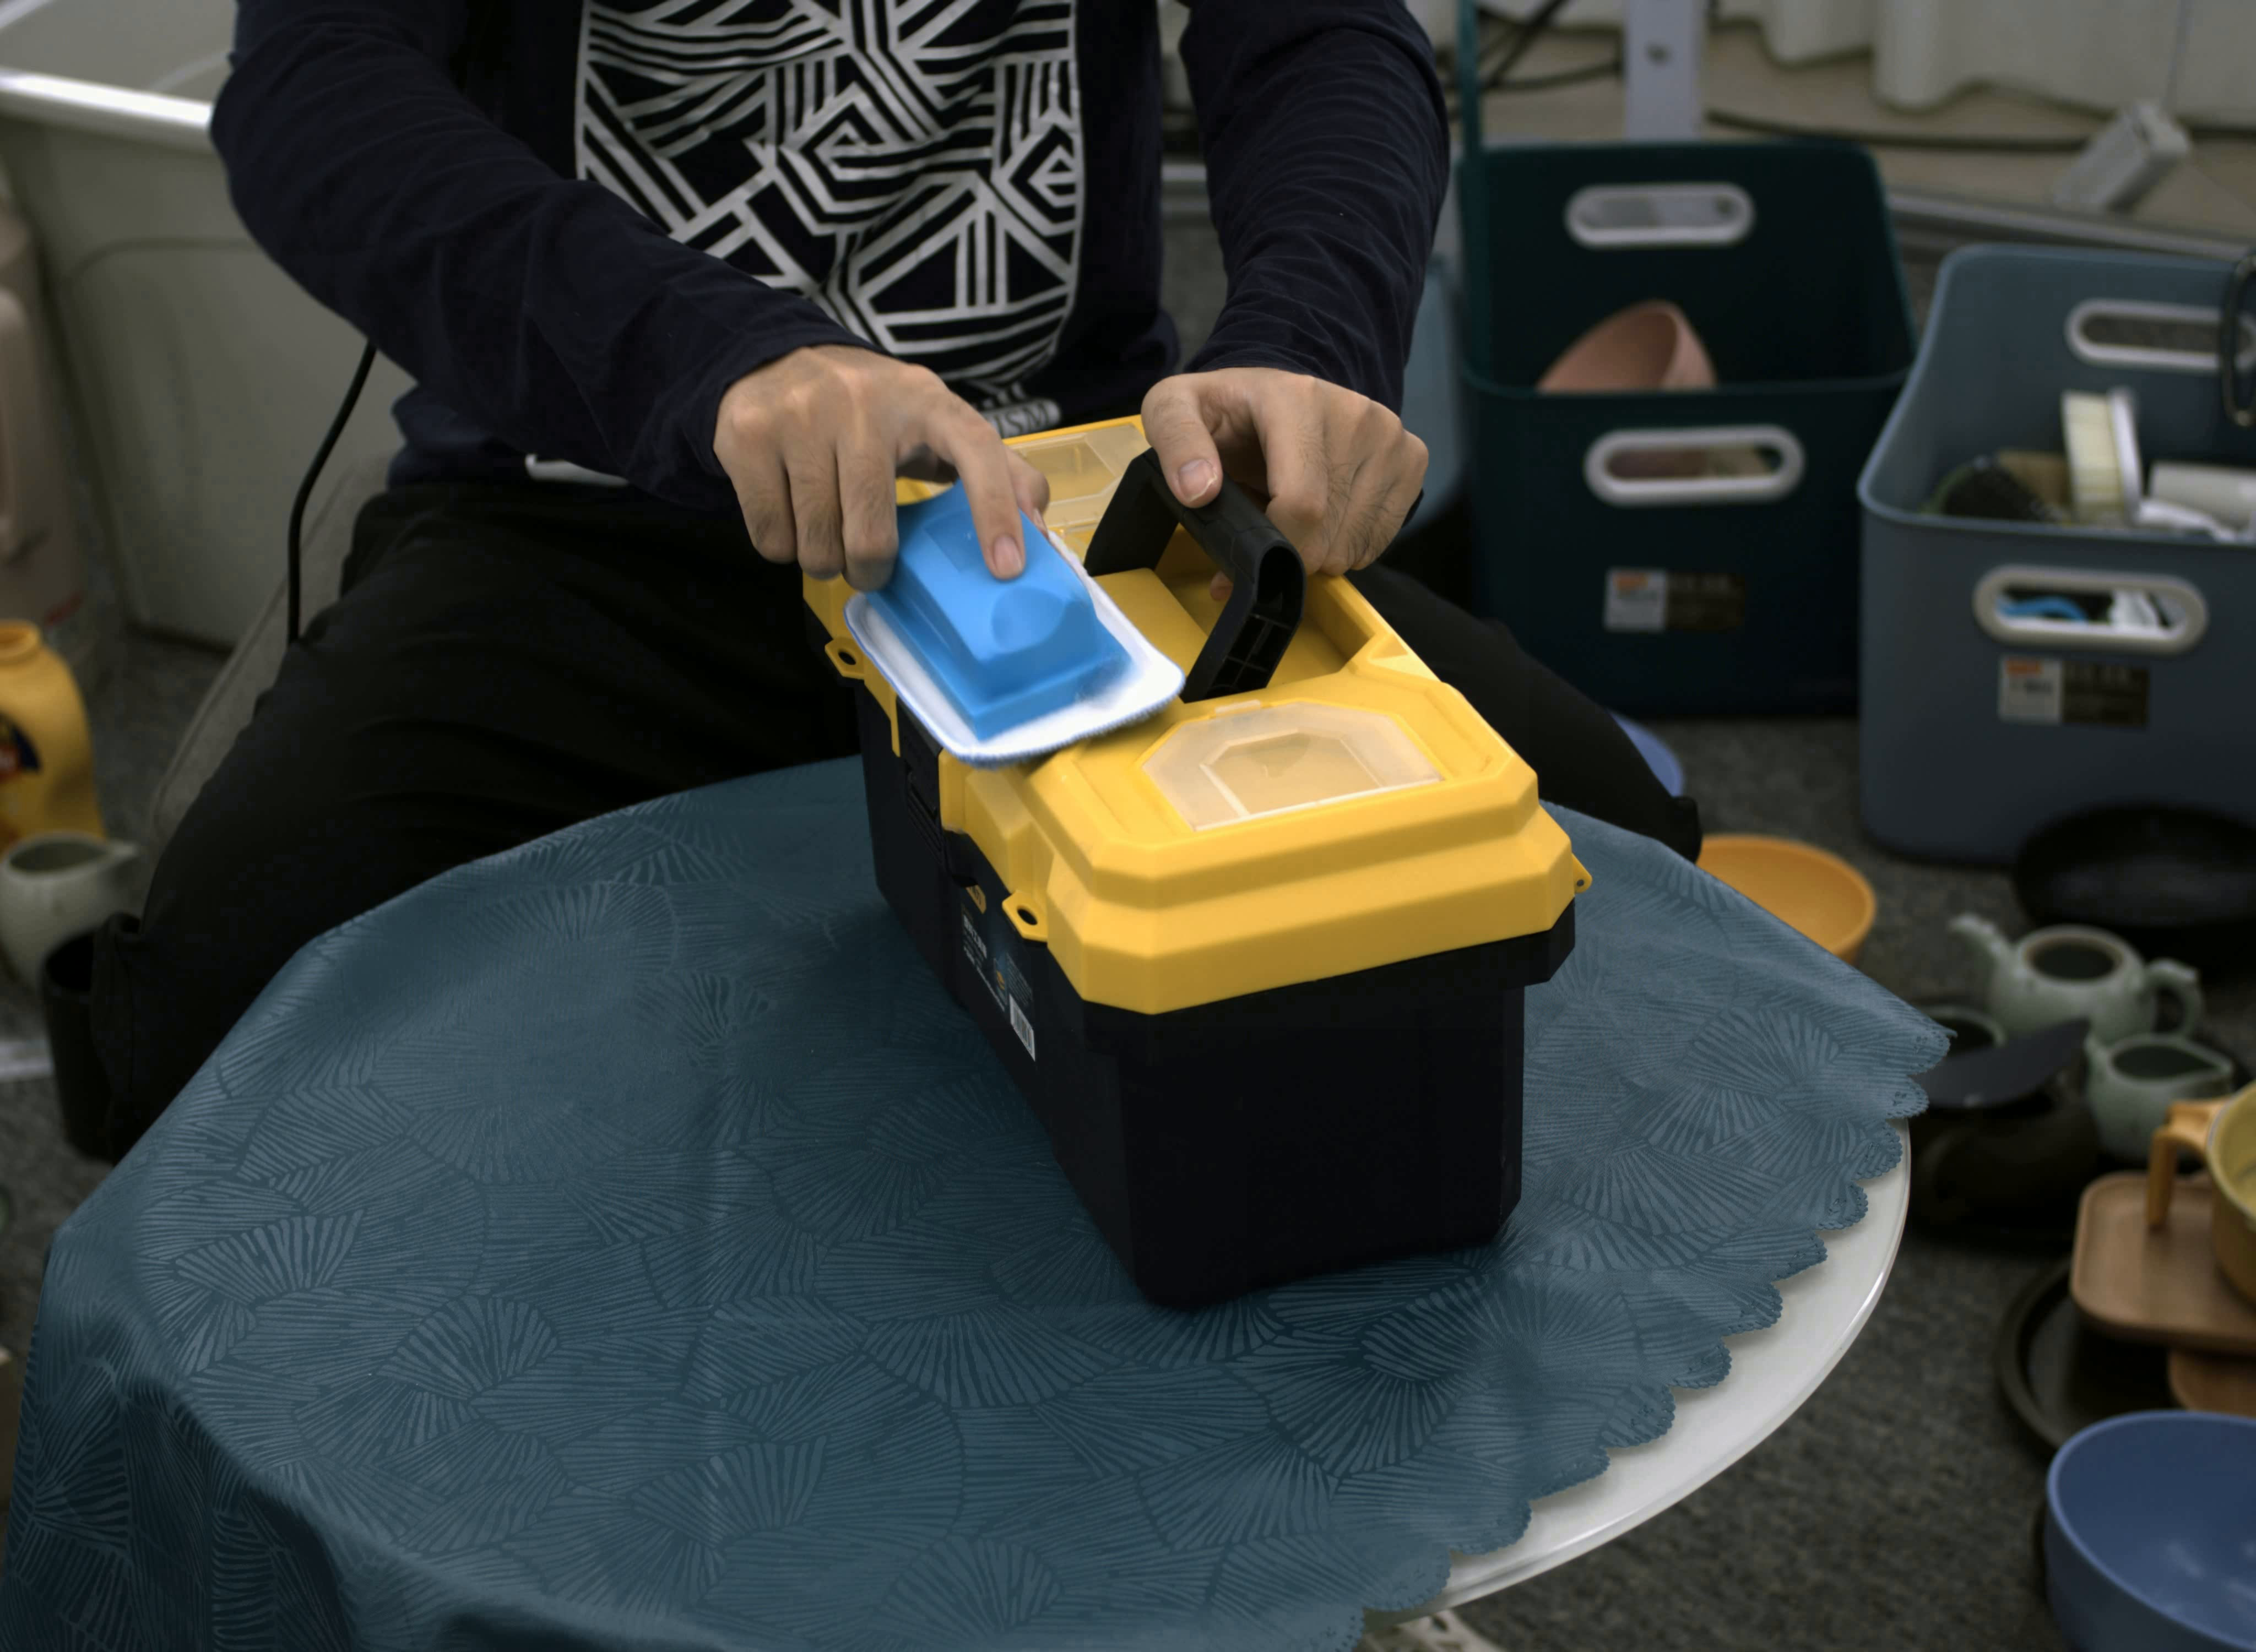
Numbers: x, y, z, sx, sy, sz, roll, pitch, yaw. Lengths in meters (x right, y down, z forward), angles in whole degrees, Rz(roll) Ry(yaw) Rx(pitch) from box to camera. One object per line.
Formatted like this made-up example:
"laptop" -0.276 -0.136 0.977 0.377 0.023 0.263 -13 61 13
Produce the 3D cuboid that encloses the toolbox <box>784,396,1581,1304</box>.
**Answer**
"toolbox" 0.013 0.002 1.899 0.181 0.171 0.355 -11 29 -16

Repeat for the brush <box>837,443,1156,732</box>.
"brush" -0.045 -0.081 1.835 0.084 0.055 0.145 -17 30 -9
